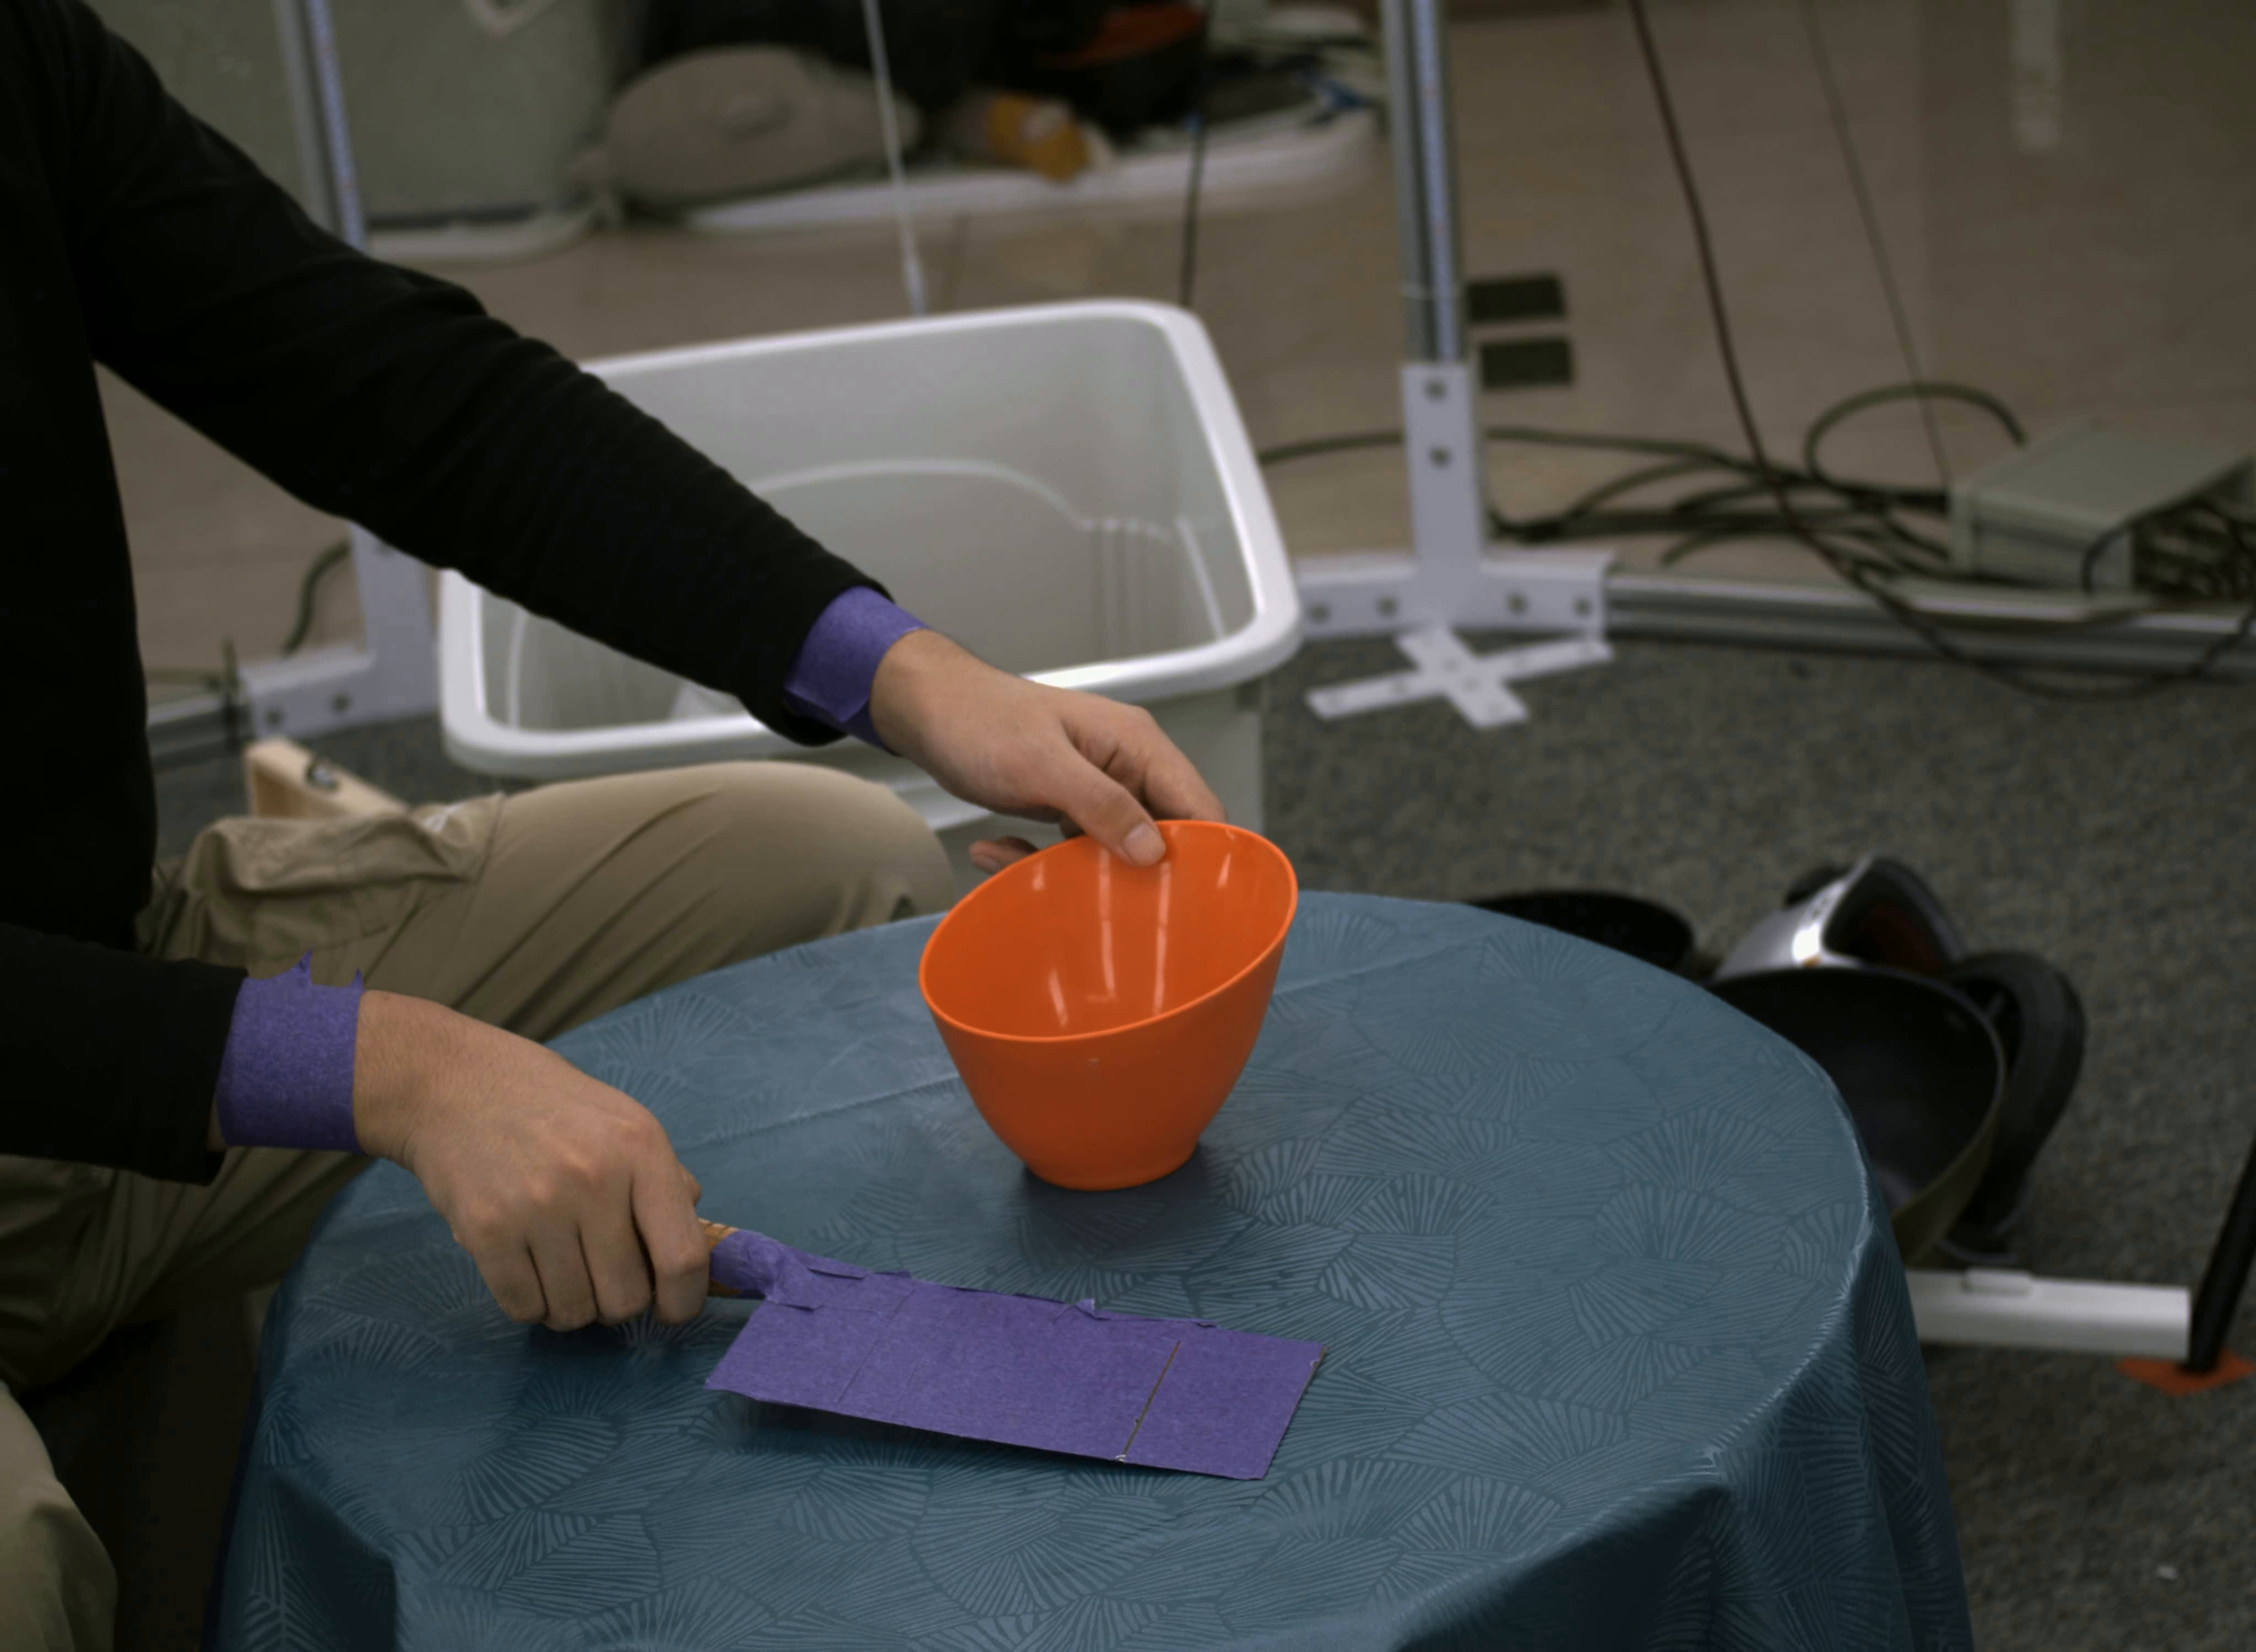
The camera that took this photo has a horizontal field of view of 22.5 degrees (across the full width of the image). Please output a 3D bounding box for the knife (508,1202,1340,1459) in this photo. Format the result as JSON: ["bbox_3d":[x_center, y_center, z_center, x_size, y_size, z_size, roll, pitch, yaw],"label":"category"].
[{"bbox_3d":[-0.086,0.180,2.034,0.314,0.033,0.102,6,27,17],"label":"knife"}]

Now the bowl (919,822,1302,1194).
[{"bbox_3d":[-0.003,0.076,2.164,0.148,0.106,0.146,-5,28,2],"label":"bowl"}]
